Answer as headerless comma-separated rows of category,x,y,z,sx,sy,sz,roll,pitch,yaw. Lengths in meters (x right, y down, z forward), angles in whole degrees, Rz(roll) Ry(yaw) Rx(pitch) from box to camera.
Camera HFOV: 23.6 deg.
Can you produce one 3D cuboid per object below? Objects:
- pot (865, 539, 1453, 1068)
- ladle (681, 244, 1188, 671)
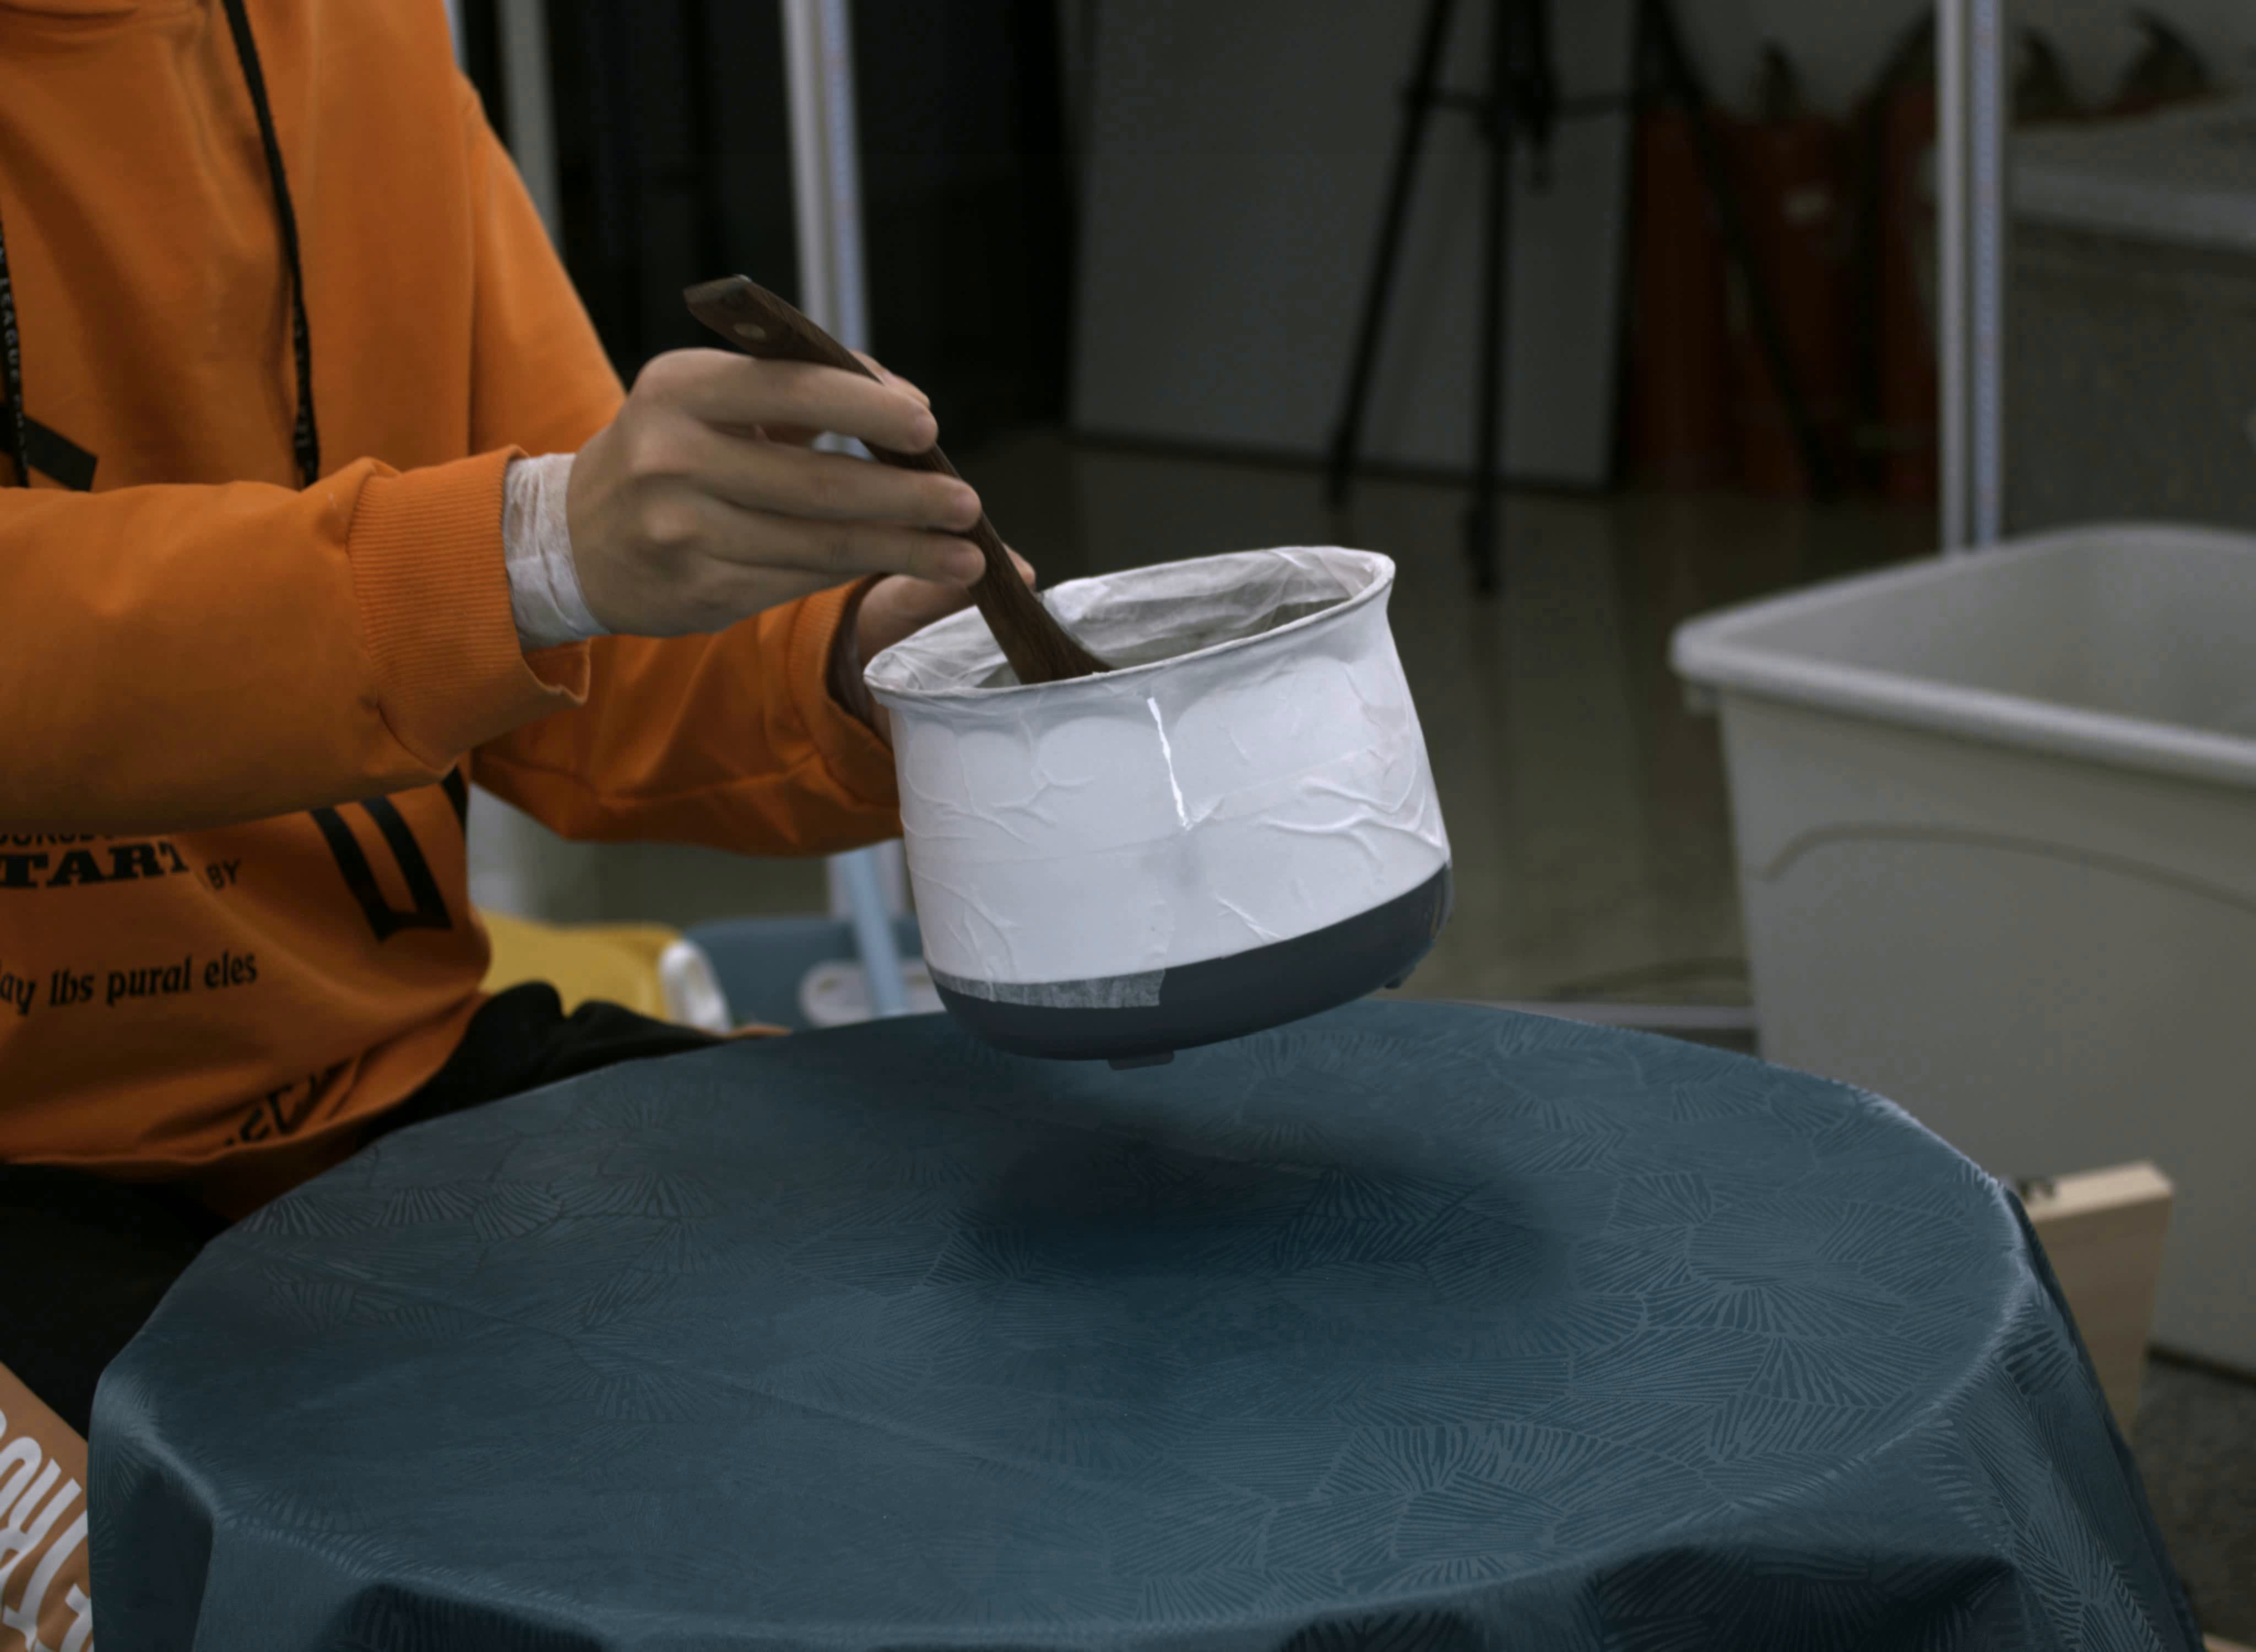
pot,0.000,-0.011,1.776,0.175,0.138,0.236,-17,12,-24
ladle,-0.049,-0.111,1.698,0.076,0.271,0.071,-13,44,31
